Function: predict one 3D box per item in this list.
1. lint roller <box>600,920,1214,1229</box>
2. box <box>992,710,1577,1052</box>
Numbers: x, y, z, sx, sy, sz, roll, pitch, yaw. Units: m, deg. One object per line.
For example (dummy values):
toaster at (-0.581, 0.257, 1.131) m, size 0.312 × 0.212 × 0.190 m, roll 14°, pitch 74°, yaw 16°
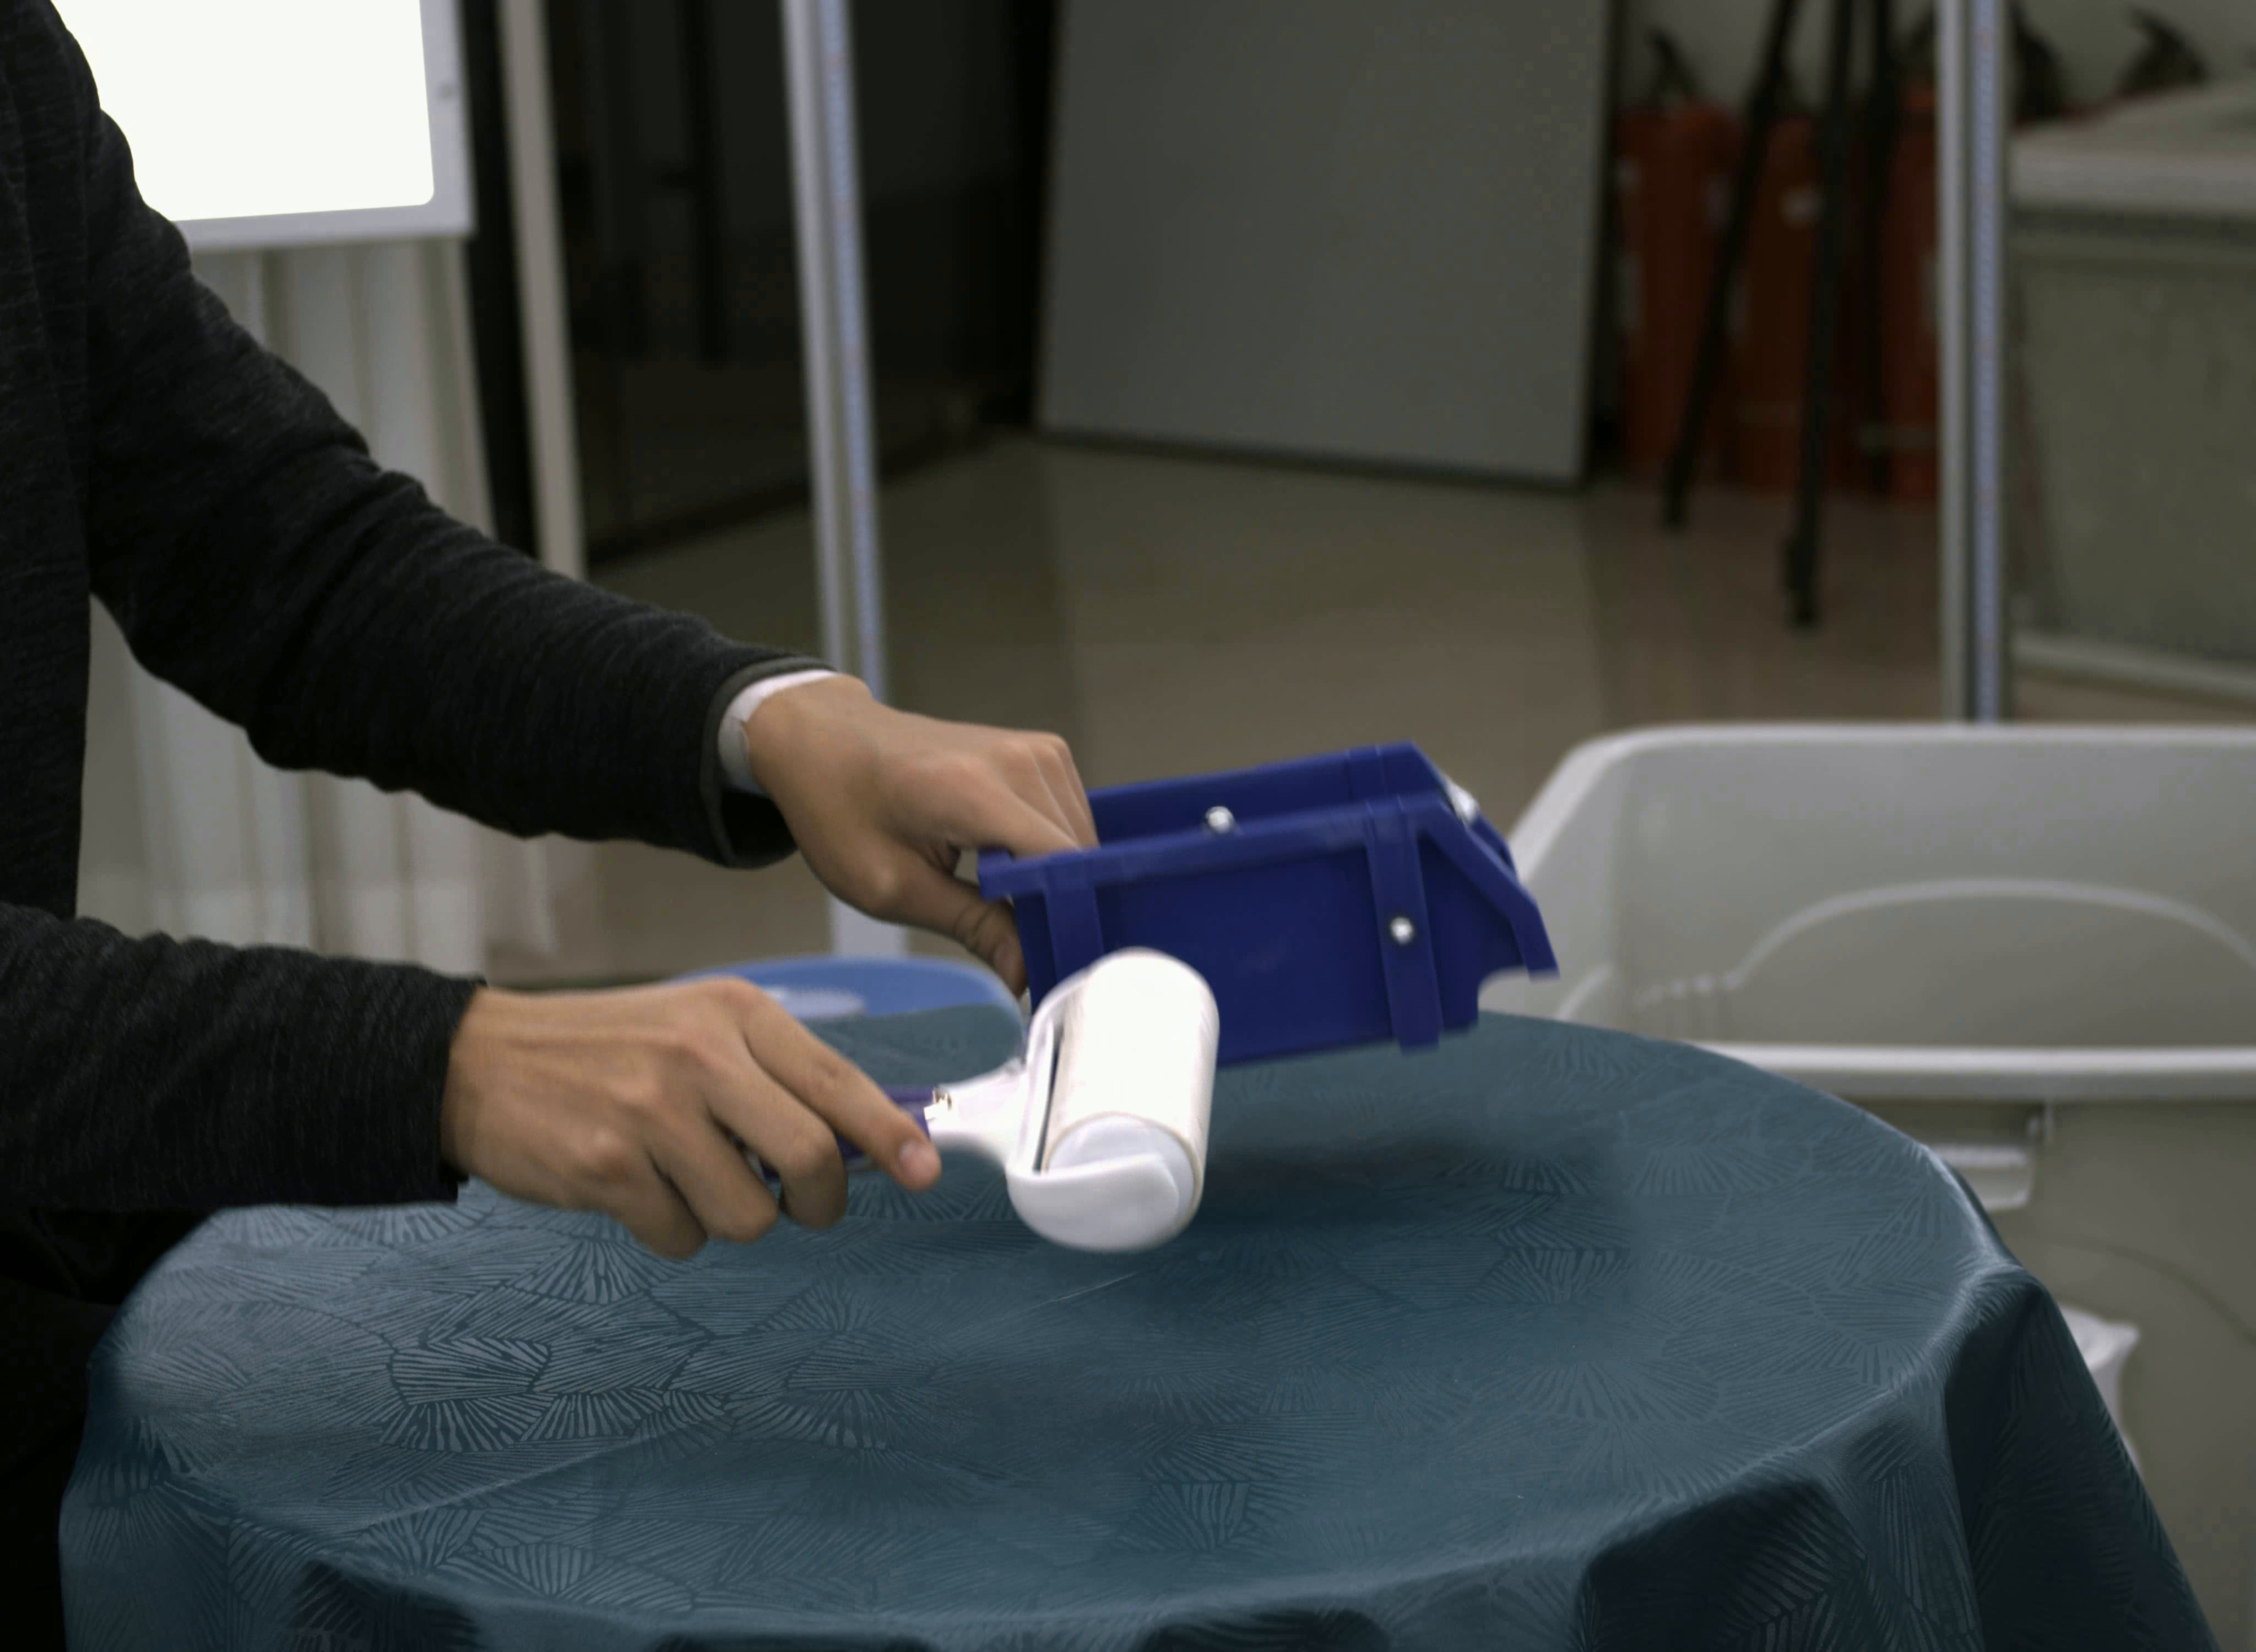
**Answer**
lint roller at (-0.064, 0.070, 1.557) m, size 0.179 × 0.050 × 0.133 m, roll 1°, pitch 28°, yaw 7°
box at (0.053, 0.020, 1.761) m, size 0.177 × 0.083 × 0.124 m, roll -13°, pitch 7°, yaw 4°
